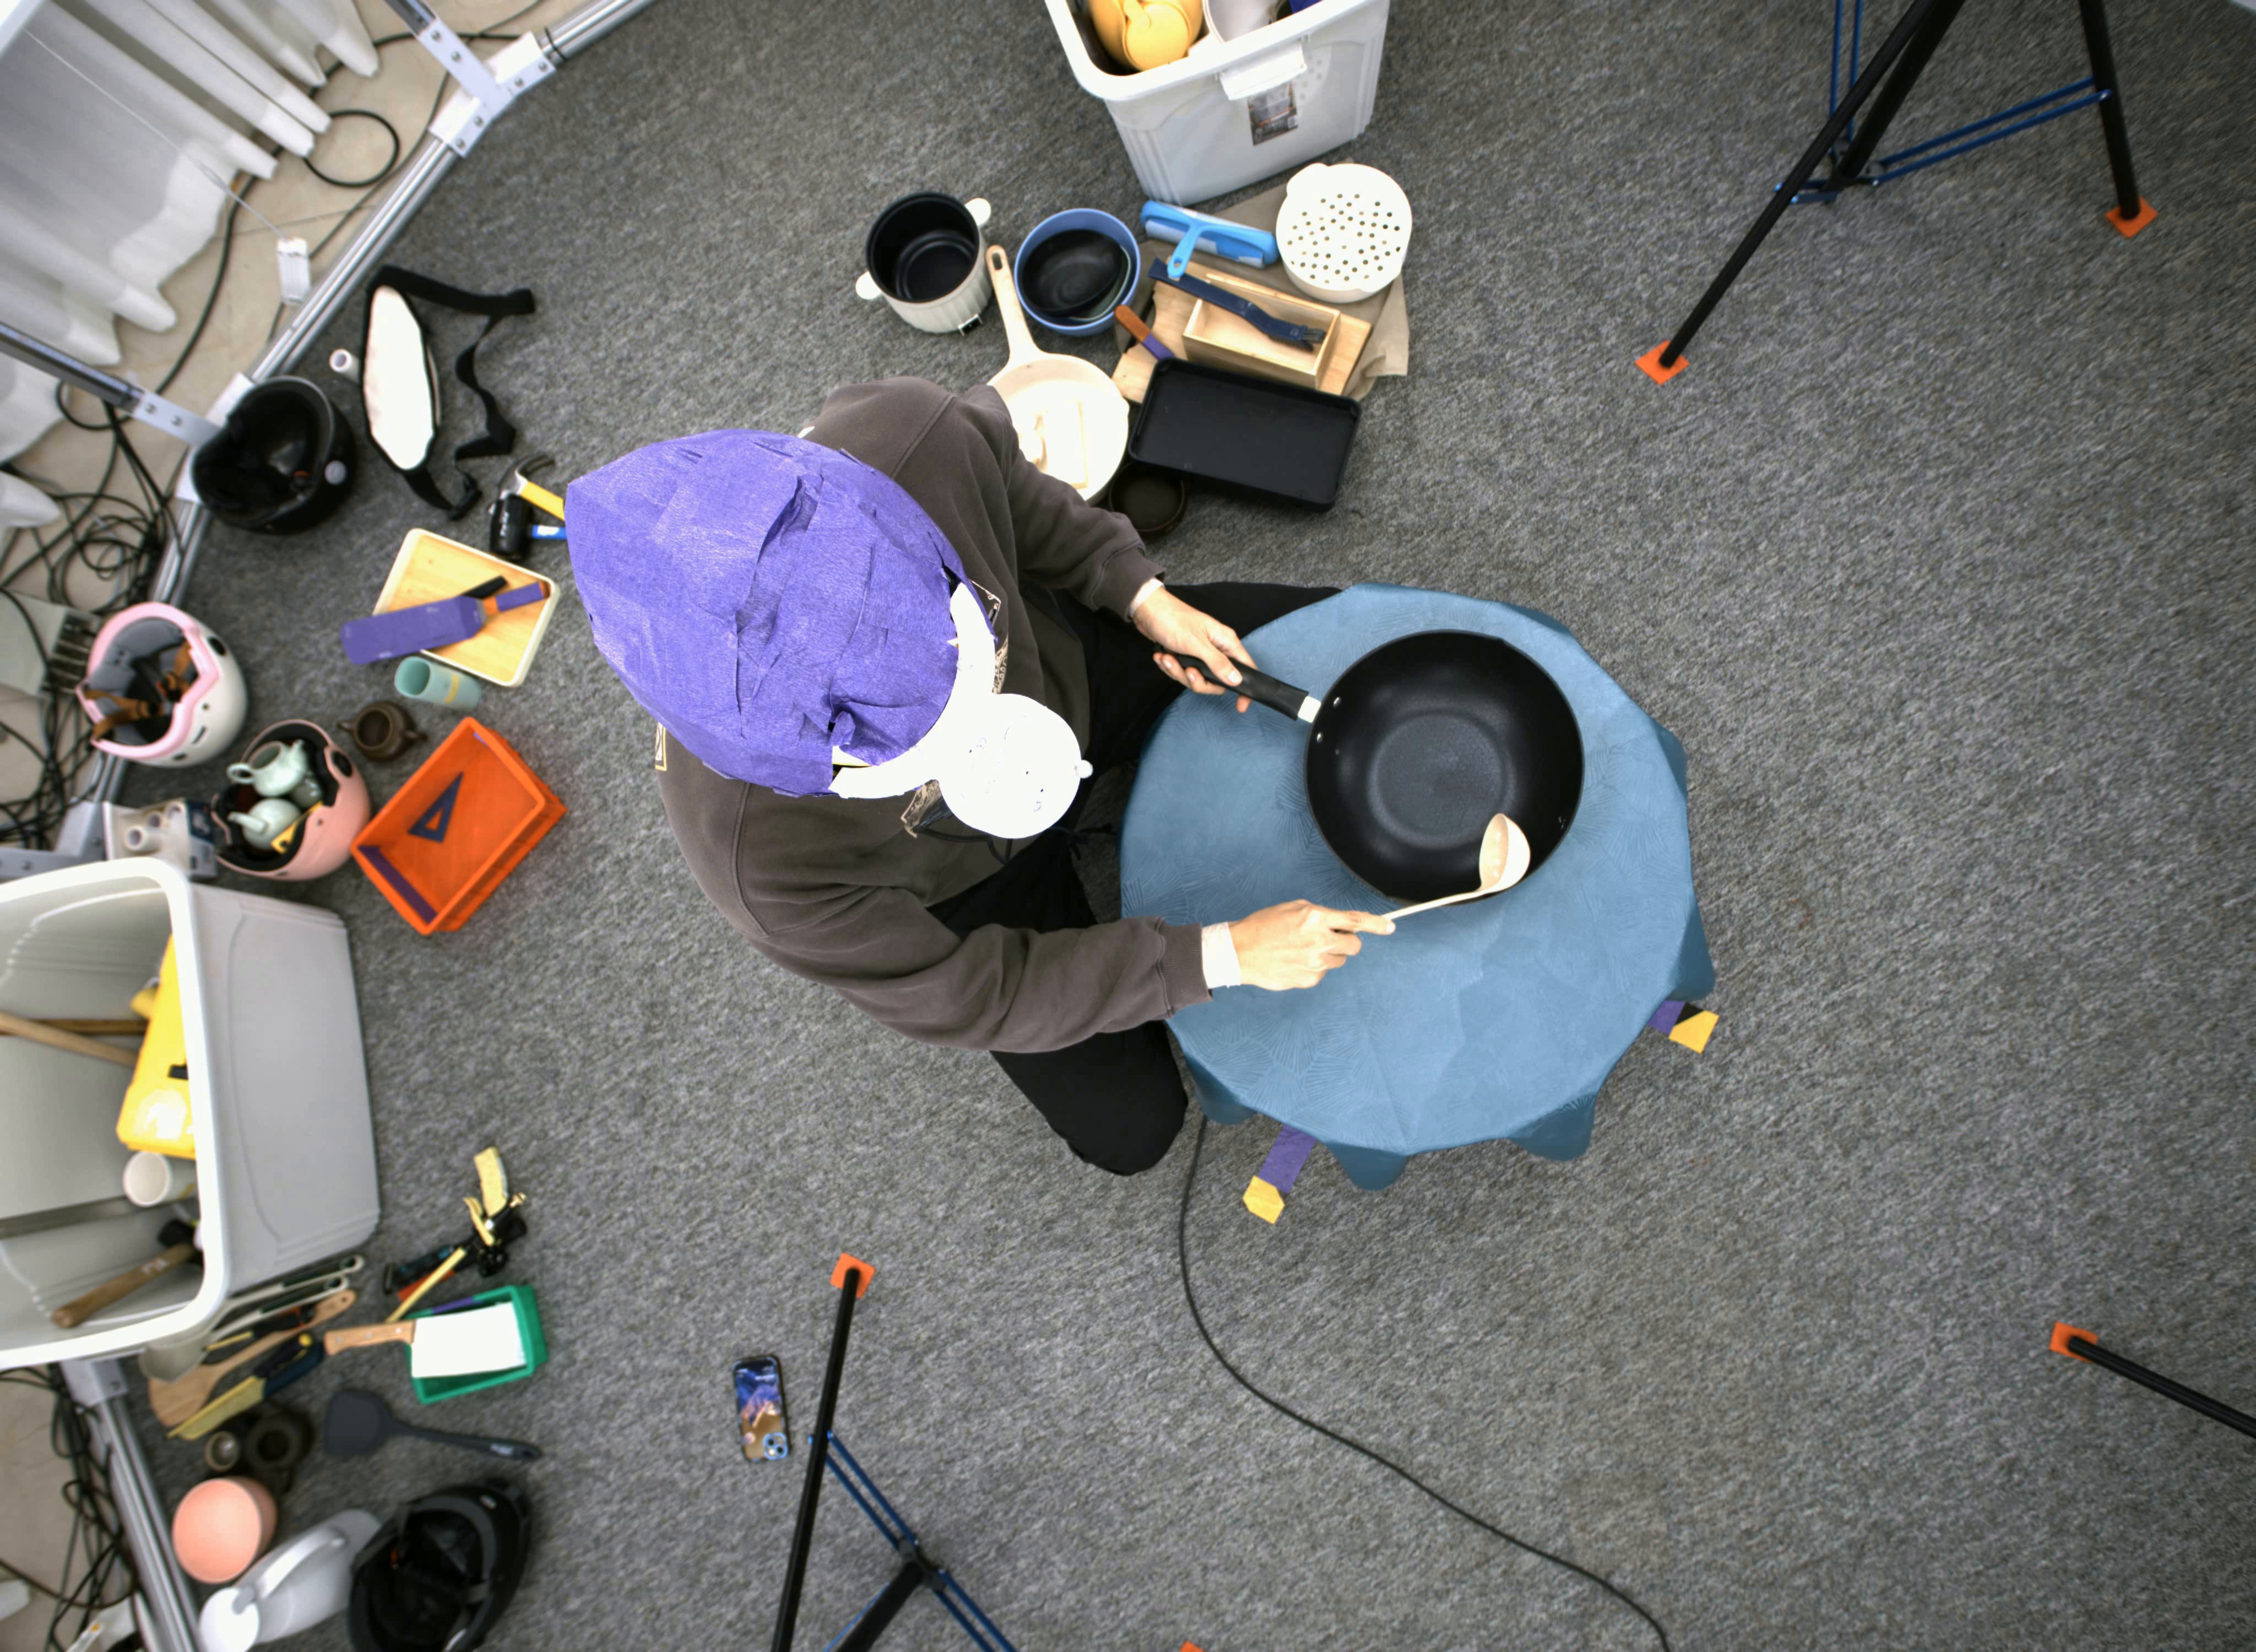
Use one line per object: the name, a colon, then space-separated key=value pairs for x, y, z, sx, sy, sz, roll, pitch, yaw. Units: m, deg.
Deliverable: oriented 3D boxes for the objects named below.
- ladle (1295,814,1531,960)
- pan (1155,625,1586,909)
ladle: x=0.268 y=0.054 z=1.324 sx=0.253 sy=0.072 sz=0.073 roll=-18 pitch=102 yaw=-11
pan: x=0.239 y=-0.094 z=1.429 sx=0.463 sy=0.087 sz=0.288 roll=25 pitch=92 yaw=12
